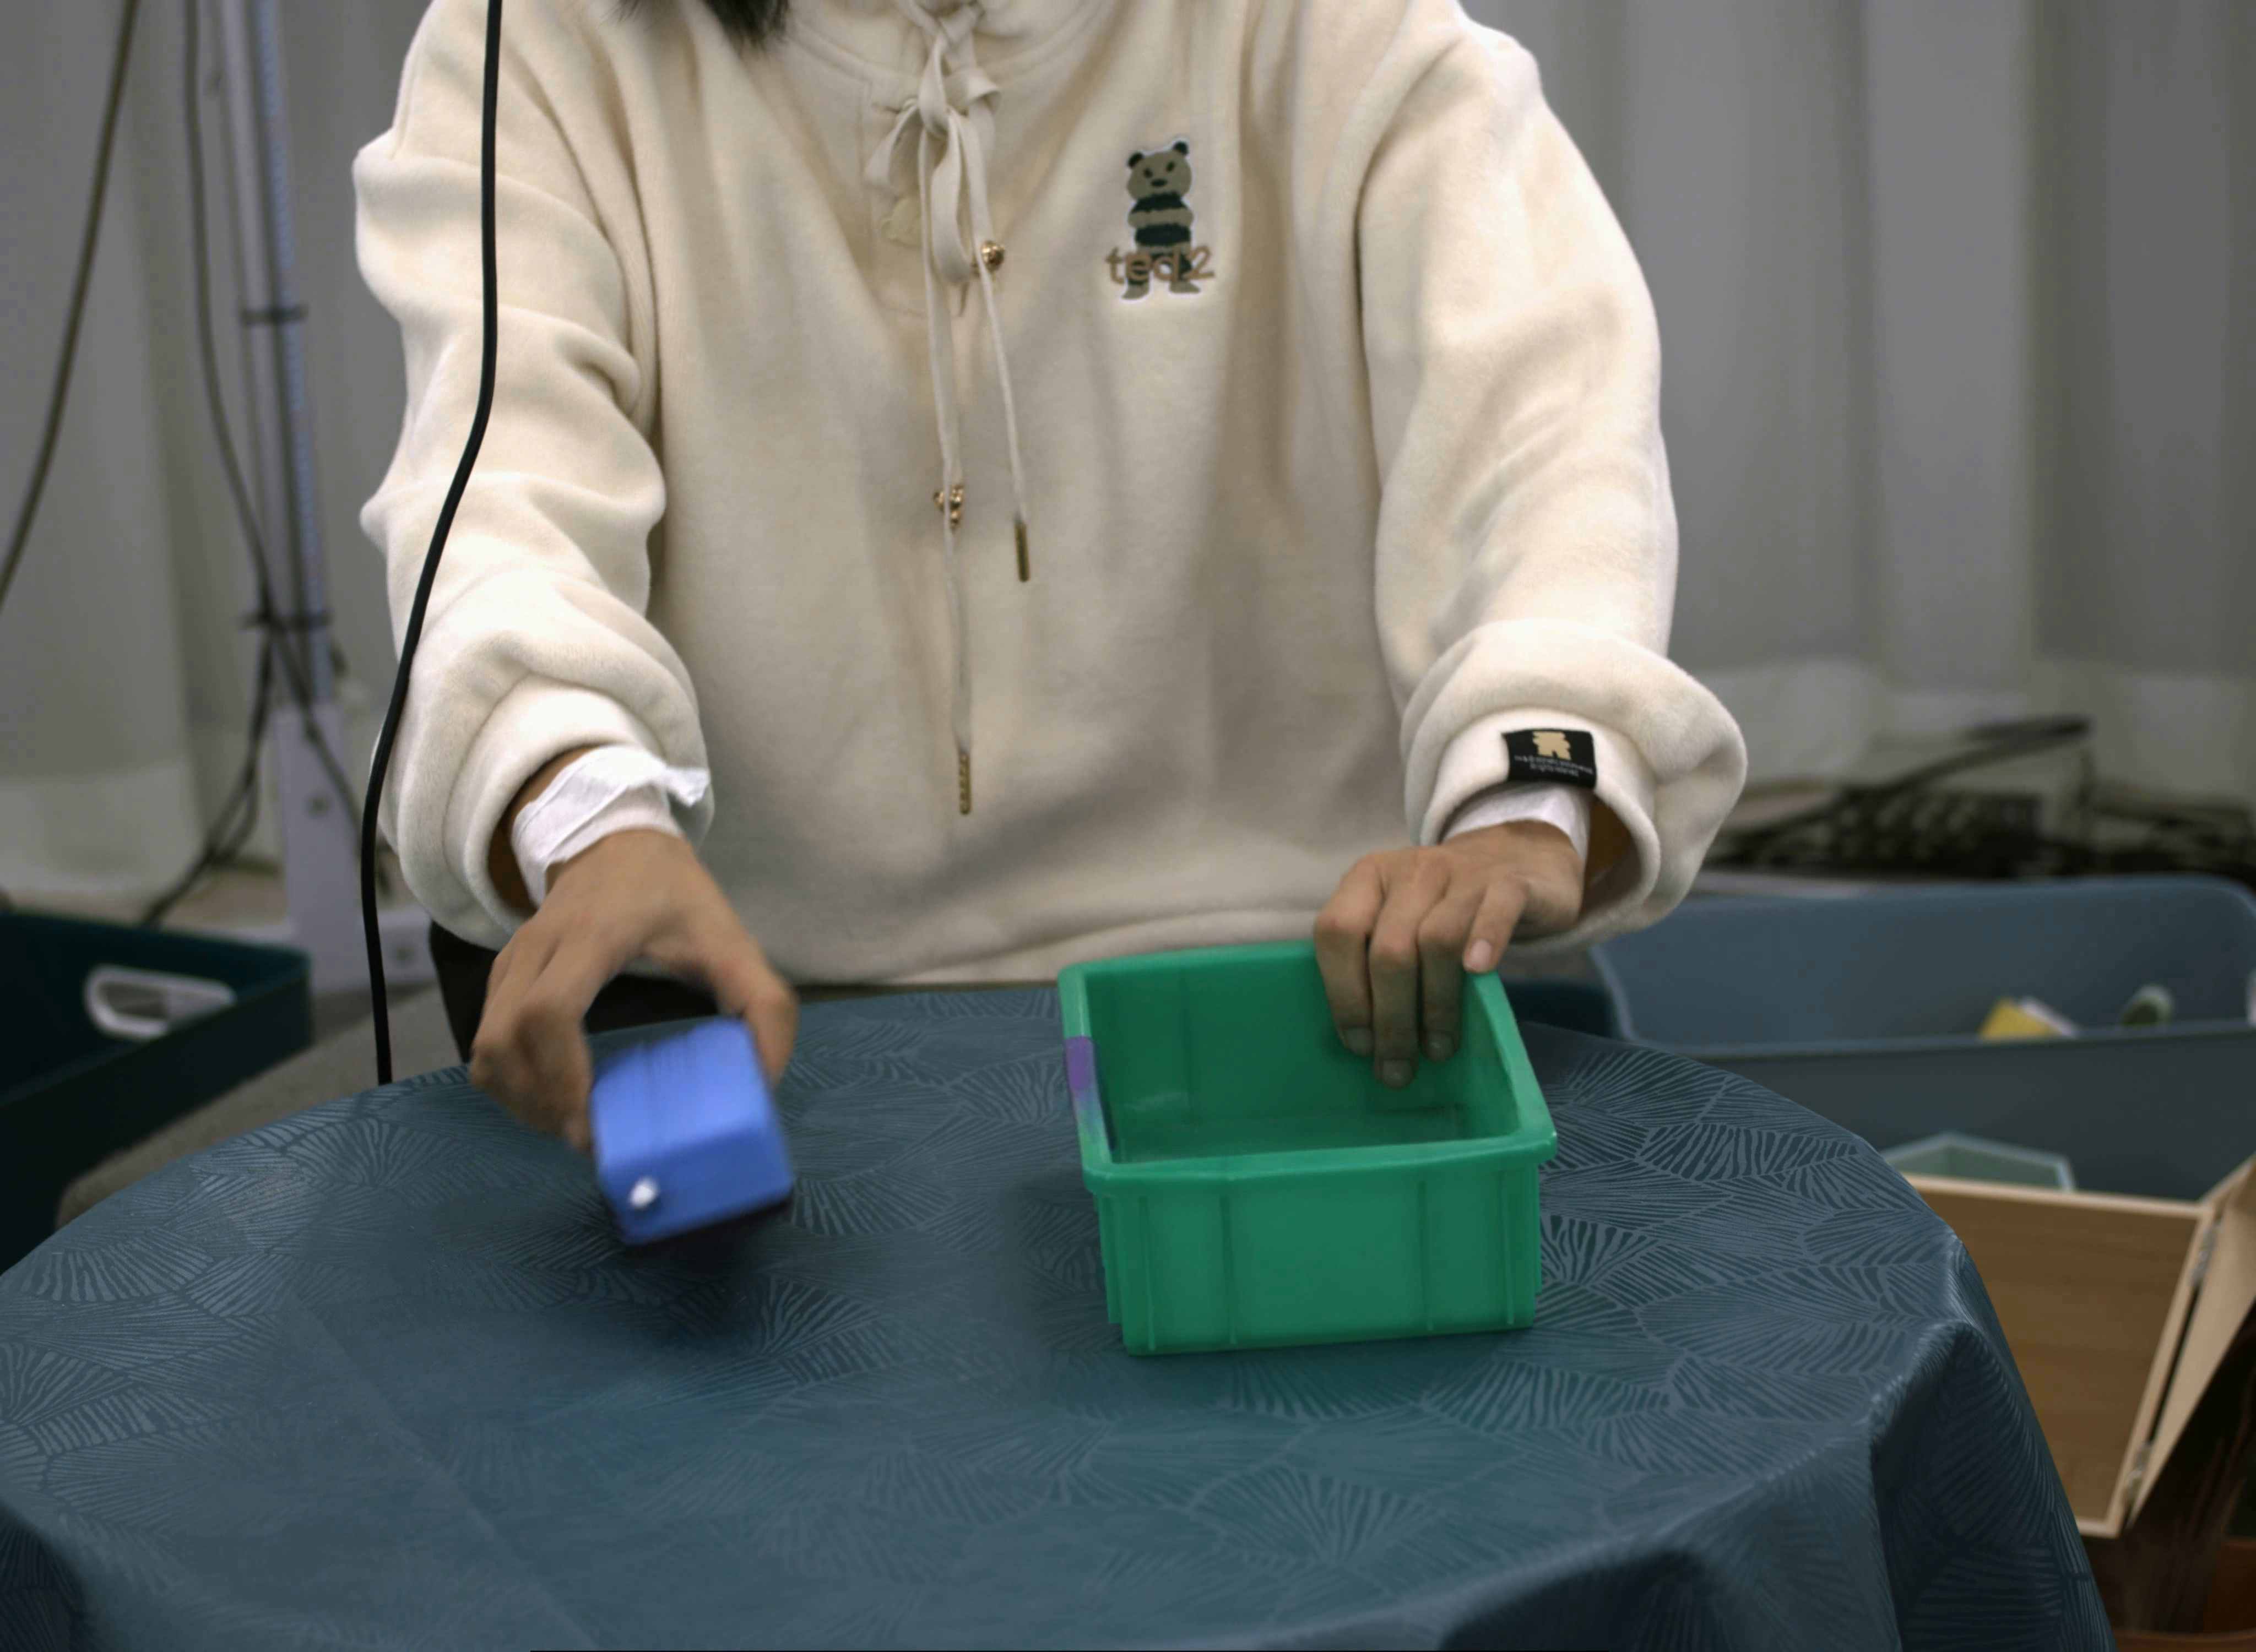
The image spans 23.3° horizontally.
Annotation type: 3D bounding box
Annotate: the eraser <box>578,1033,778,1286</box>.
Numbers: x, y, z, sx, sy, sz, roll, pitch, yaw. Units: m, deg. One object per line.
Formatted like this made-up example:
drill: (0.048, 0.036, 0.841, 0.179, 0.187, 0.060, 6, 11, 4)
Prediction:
eraser: (-0.138, 0.095, 1.662, 0.053, 0.047, 0.163, -16, 11, -3)

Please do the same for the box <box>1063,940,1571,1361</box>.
box: (0.054, 0.097, 1.646, 0.138, 0.065, 0.212, -6, 16, -2)
